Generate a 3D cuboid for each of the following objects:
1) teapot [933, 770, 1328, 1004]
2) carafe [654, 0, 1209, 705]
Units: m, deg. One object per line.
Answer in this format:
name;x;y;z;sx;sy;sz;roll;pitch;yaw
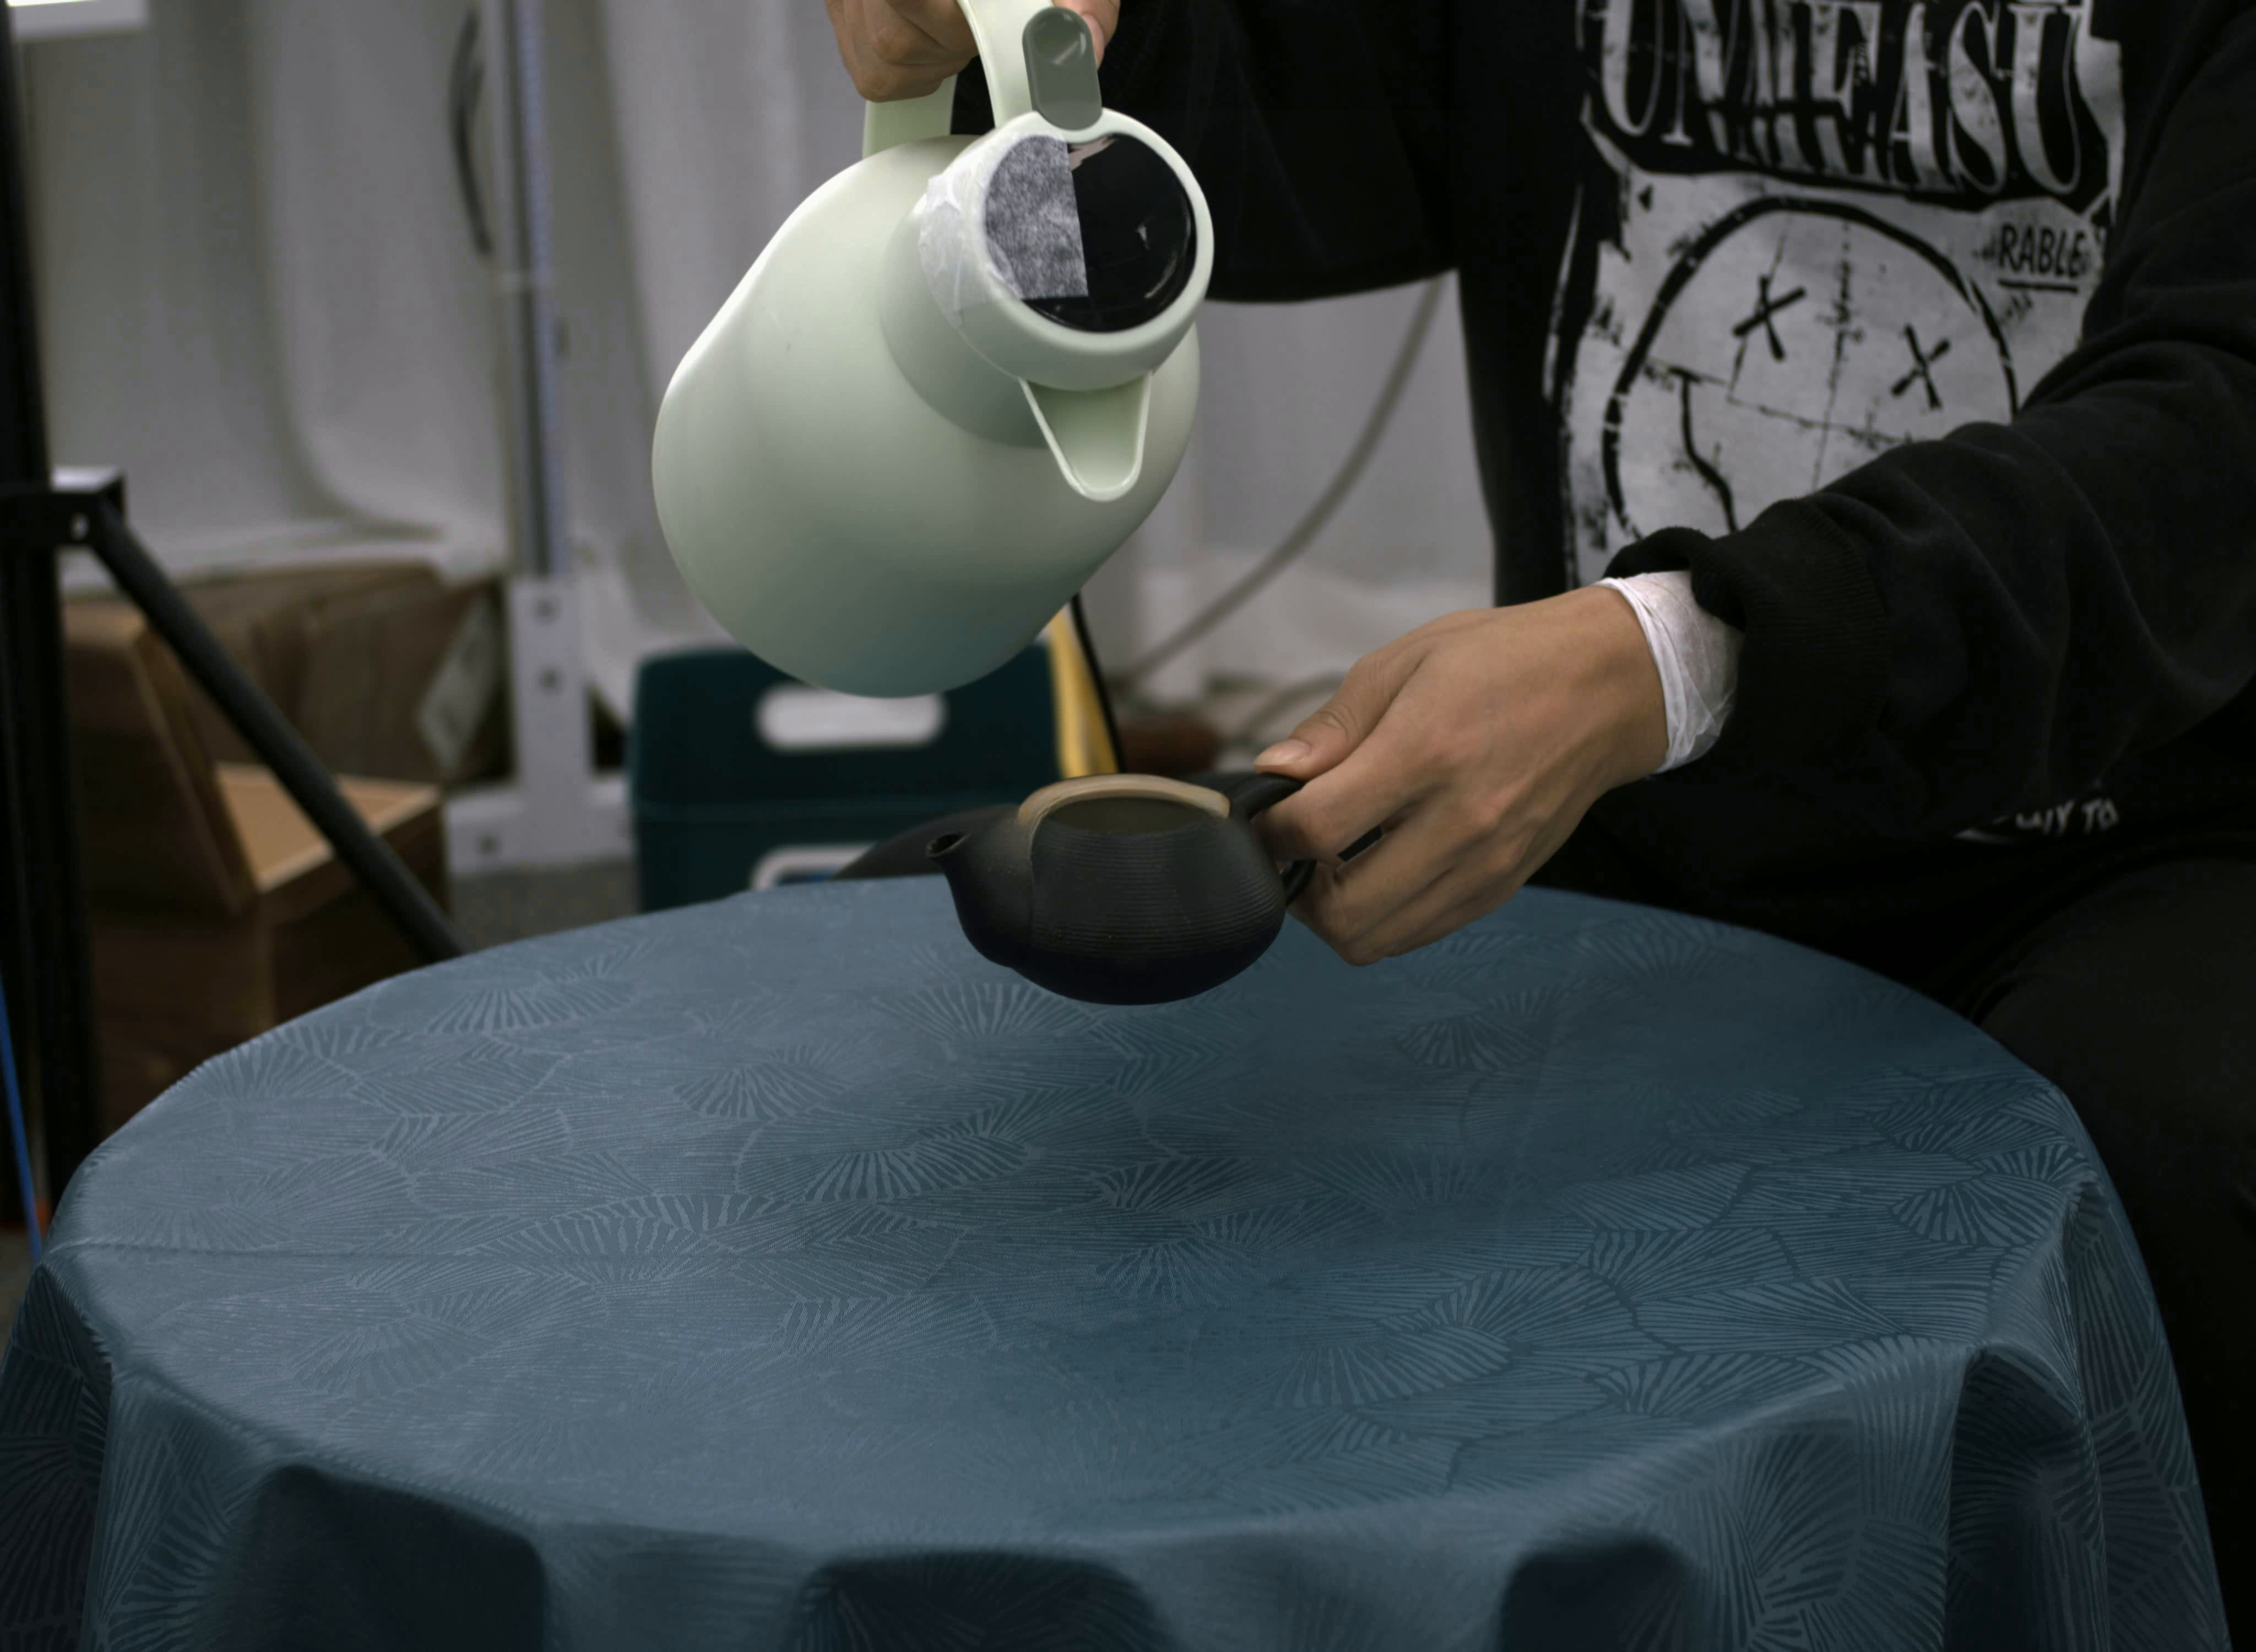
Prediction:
teapot;0.002;0.017;1.523;0.130;0.053;0.093;-11;22;-30
carafe;-0.052;-0.153;1.615;0.141;0.189;0.258;-5;-17;-19
